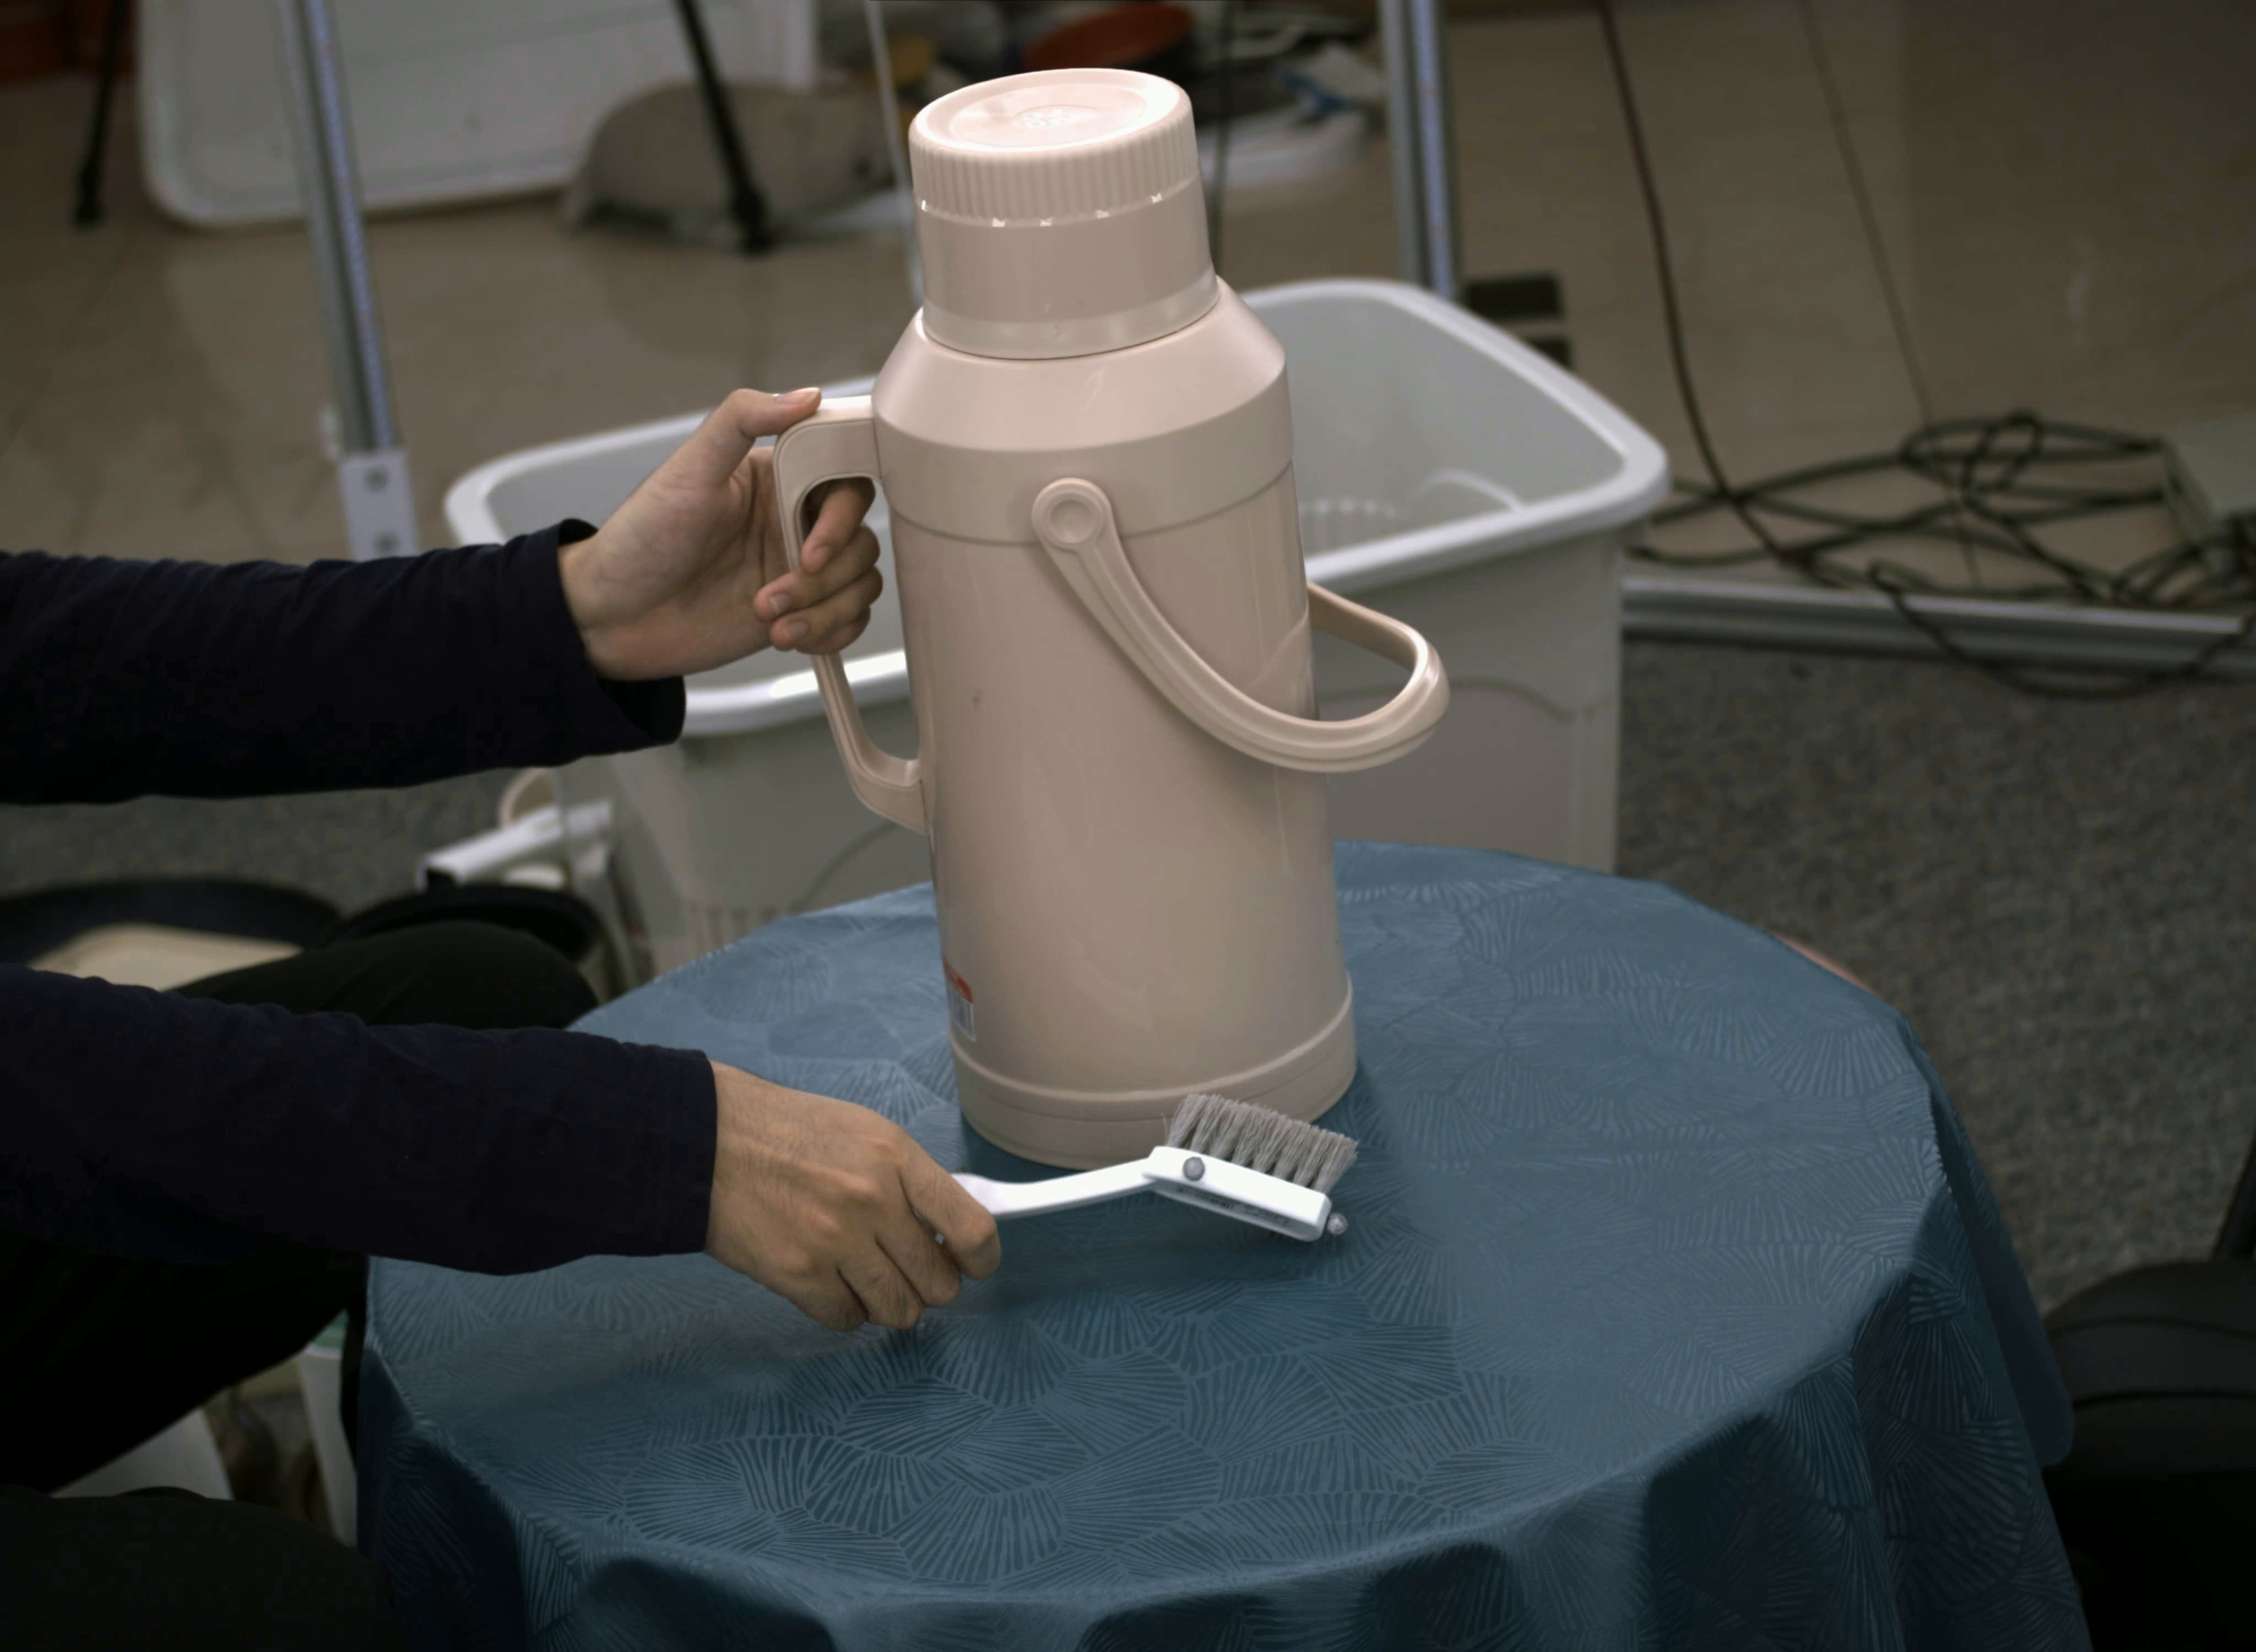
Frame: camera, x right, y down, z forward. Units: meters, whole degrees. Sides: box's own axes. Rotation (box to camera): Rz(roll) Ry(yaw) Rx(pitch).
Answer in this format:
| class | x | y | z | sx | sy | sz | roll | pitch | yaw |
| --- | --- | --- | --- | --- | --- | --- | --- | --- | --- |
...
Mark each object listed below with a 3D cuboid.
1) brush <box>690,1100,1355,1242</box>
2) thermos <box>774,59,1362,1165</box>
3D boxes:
| class | x | y | z | sx | sy | sz | roll | pitch | yaw |
| --- | --- | --- | --- | --- | --- | --- | --- | --- | --- |
| brush | -0.038 | 0.123 | 2.084 | 0.243 | 0.050 | 0.034 | 2 | -4 | -1 |
| thermos | -0.022 | -0.081 | 2.148 | 0.207 | 0.413 | 0.172 | -5 | 28 | 4 |
